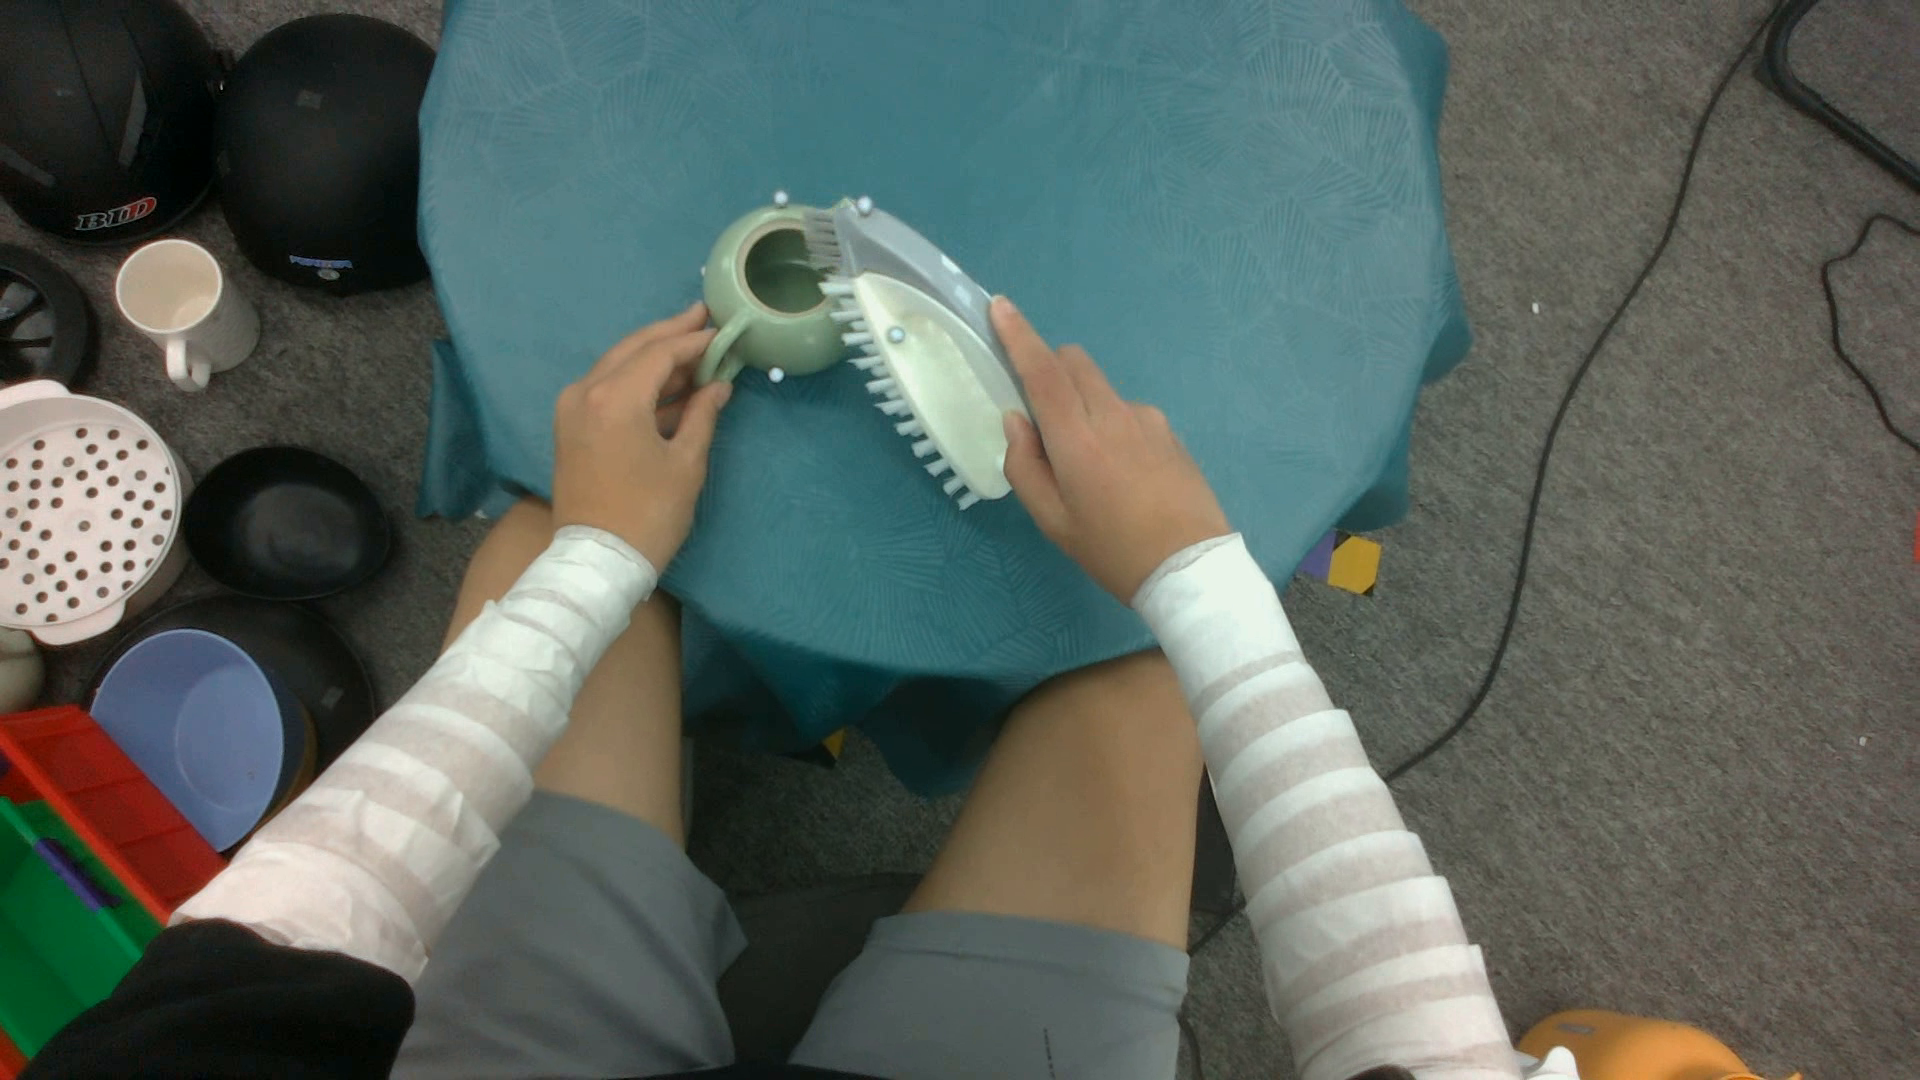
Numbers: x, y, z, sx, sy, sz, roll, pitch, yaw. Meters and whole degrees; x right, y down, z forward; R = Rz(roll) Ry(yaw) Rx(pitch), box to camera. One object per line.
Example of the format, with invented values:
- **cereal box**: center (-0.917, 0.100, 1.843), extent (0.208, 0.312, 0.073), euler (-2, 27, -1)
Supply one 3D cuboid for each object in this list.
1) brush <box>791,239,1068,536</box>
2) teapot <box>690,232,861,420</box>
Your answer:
- **brush**: center (-0.011, -0.087, 0.703), extent (0.175, 0.094, 0.062), euler (52, 55, -16)
- **teapot**: center (-0.100, -0.113, 0.750), extent (0.091, 0.061, 0.129), euler (42, 73, 3)
